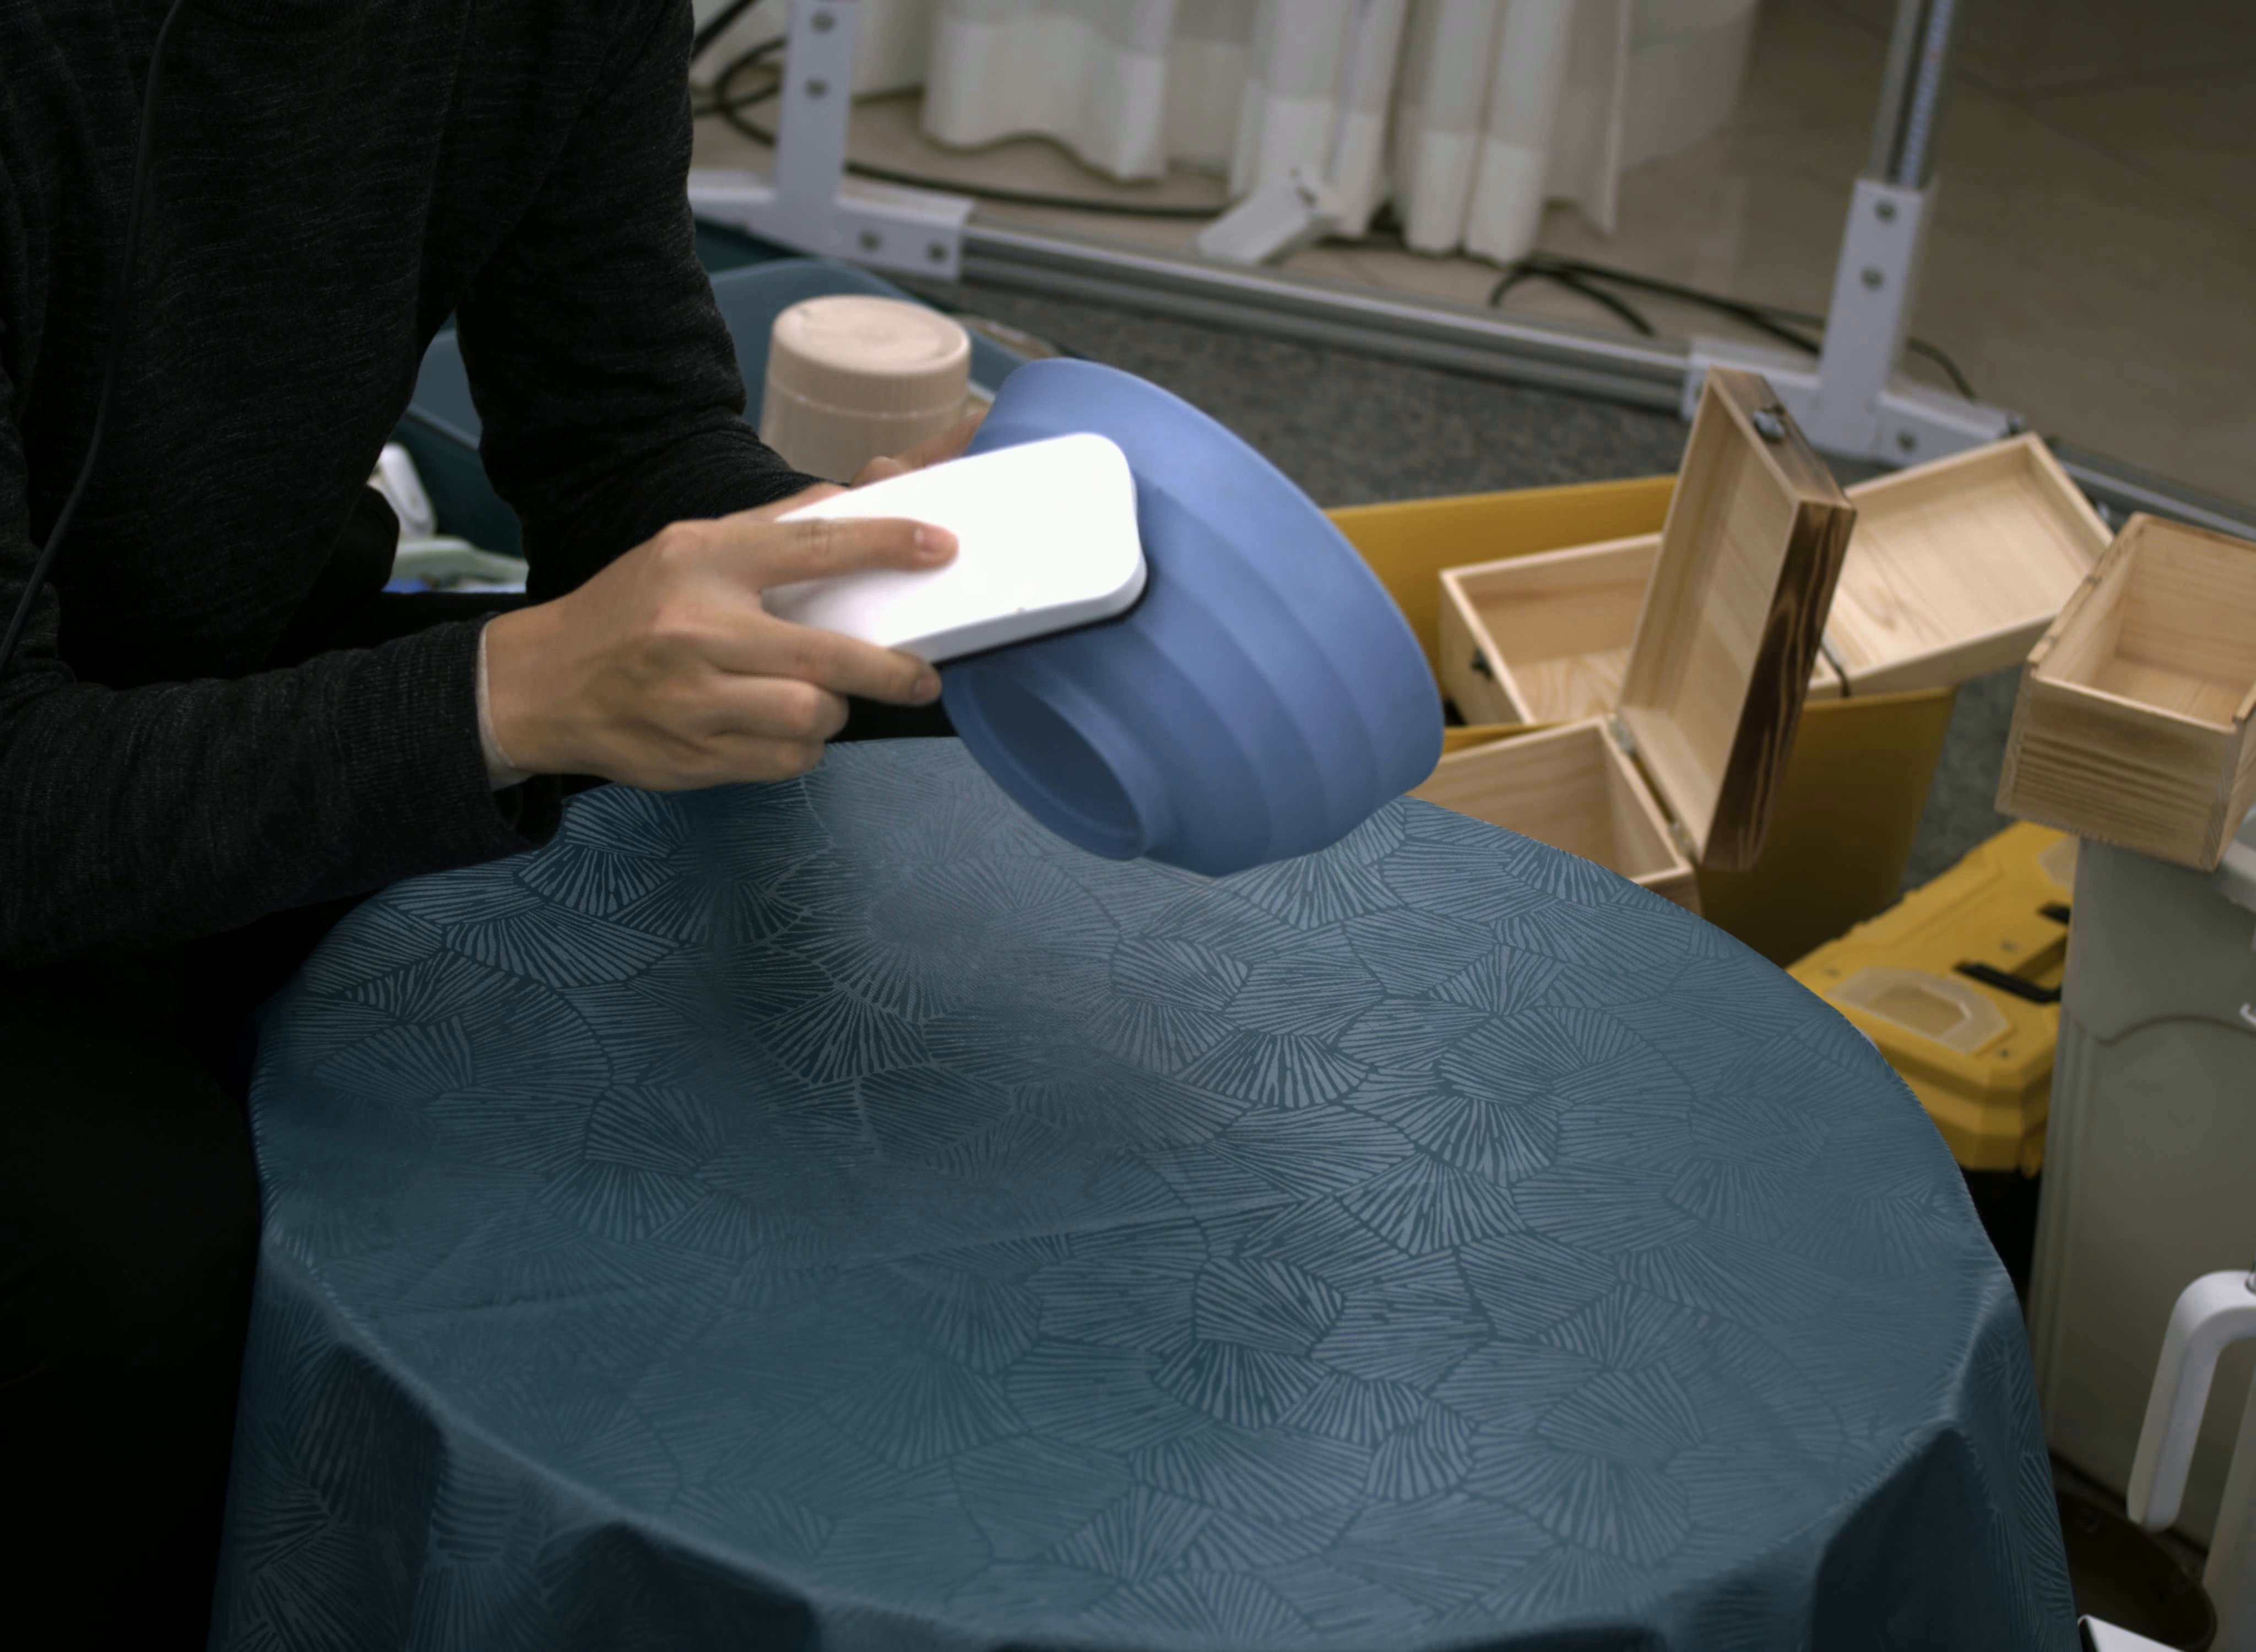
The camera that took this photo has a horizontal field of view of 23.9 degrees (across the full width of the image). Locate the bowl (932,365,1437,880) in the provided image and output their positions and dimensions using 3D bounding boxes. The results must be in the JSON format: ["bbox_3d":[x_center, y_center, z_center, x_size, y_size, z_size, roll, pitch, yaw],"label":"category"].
[{"bbox_3d":[-0.001,-0.051,1.788,0.198,0.195,0.095,29,65,36],"label":"bowl"}]

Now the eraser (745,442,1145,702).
[{"bbox_3d":[-0.060,-0.082,1.710,0.131,0.034,0.064,-13,60,14],"label":"eraser"}]
